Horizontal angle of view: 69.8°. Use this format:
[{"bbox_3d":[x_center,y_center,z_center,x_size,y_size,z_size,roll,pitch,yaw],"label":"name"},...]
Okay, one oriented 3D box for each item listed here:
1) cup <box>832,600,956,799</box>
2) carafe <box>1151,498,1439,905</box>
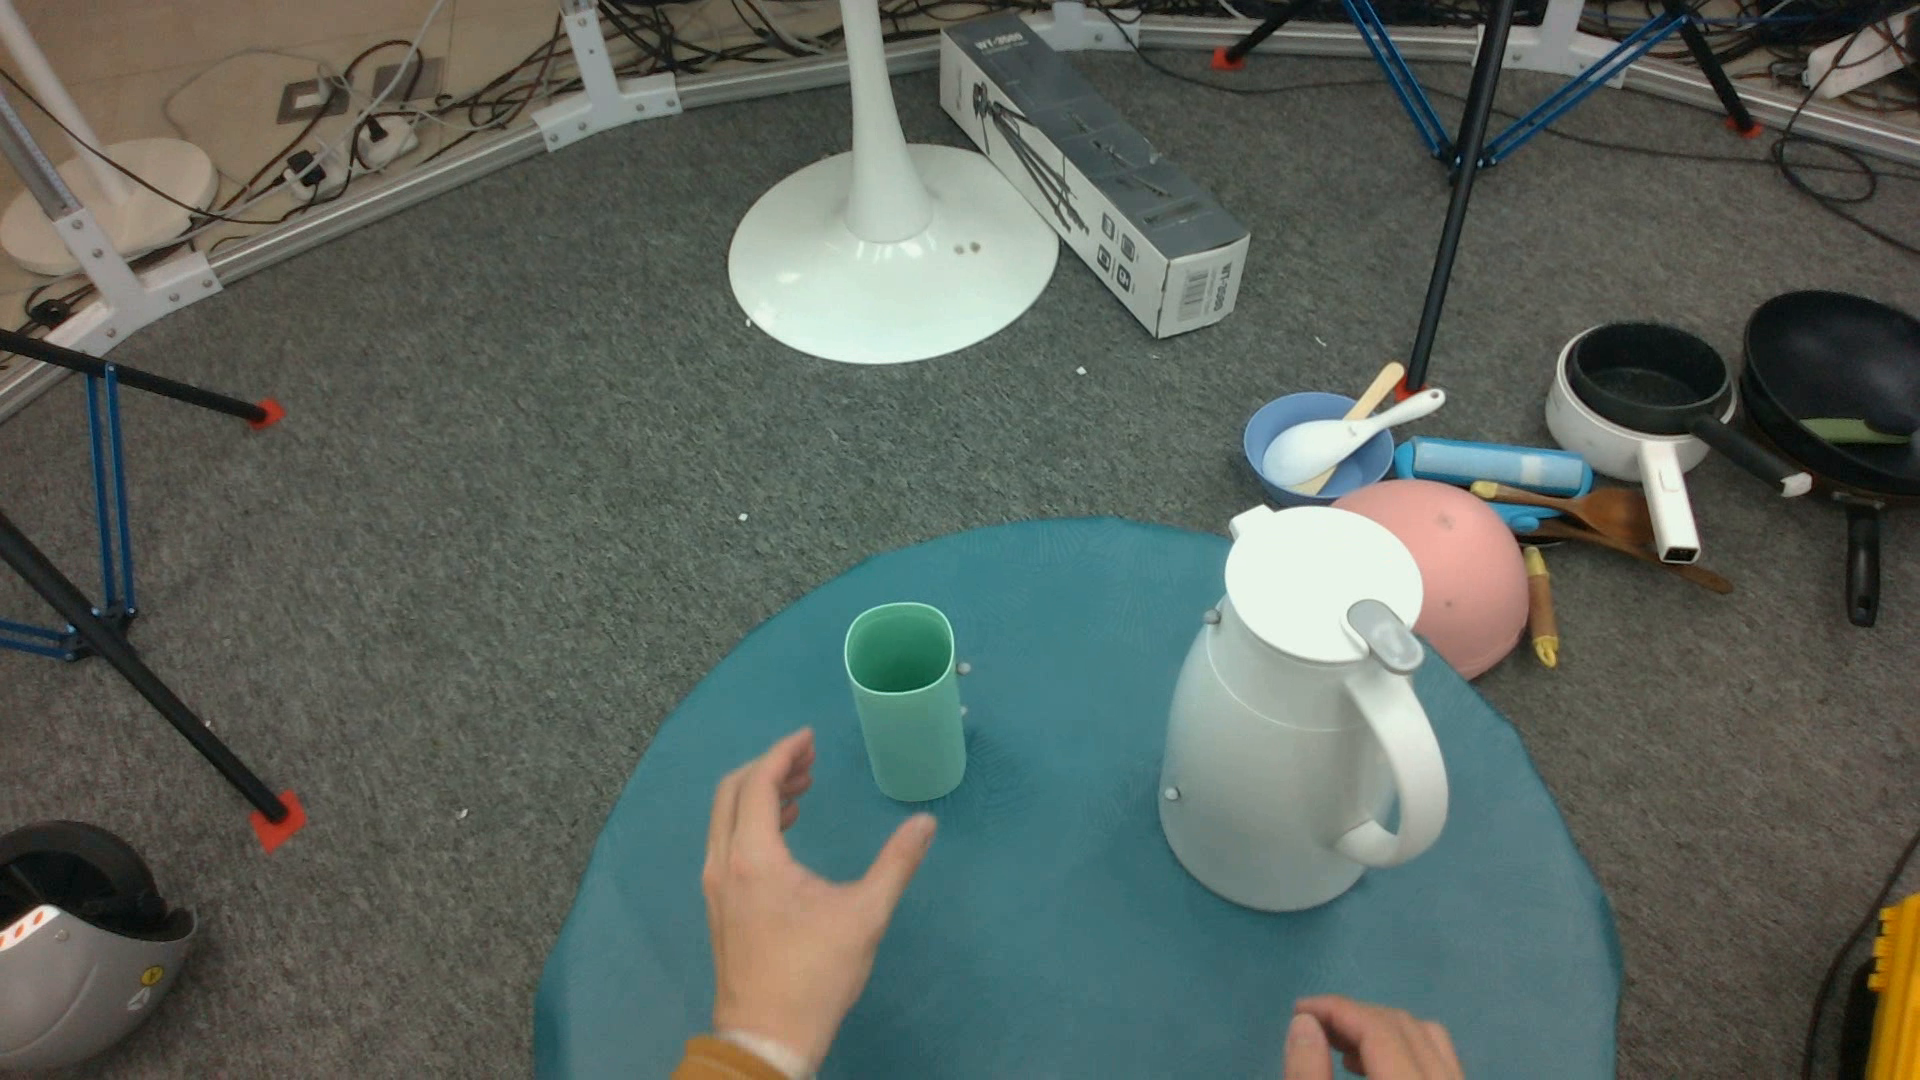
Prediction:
[{"bbox_3d":[-0.037,0.099,0.827,0.067,0.132,0.067,-2,52,3],"label":"cup"},{"bbox_3d":[0.185,0.099,0.735,0.133,0.247,0.168,-24,55,-15],"label":"carafe"}]
